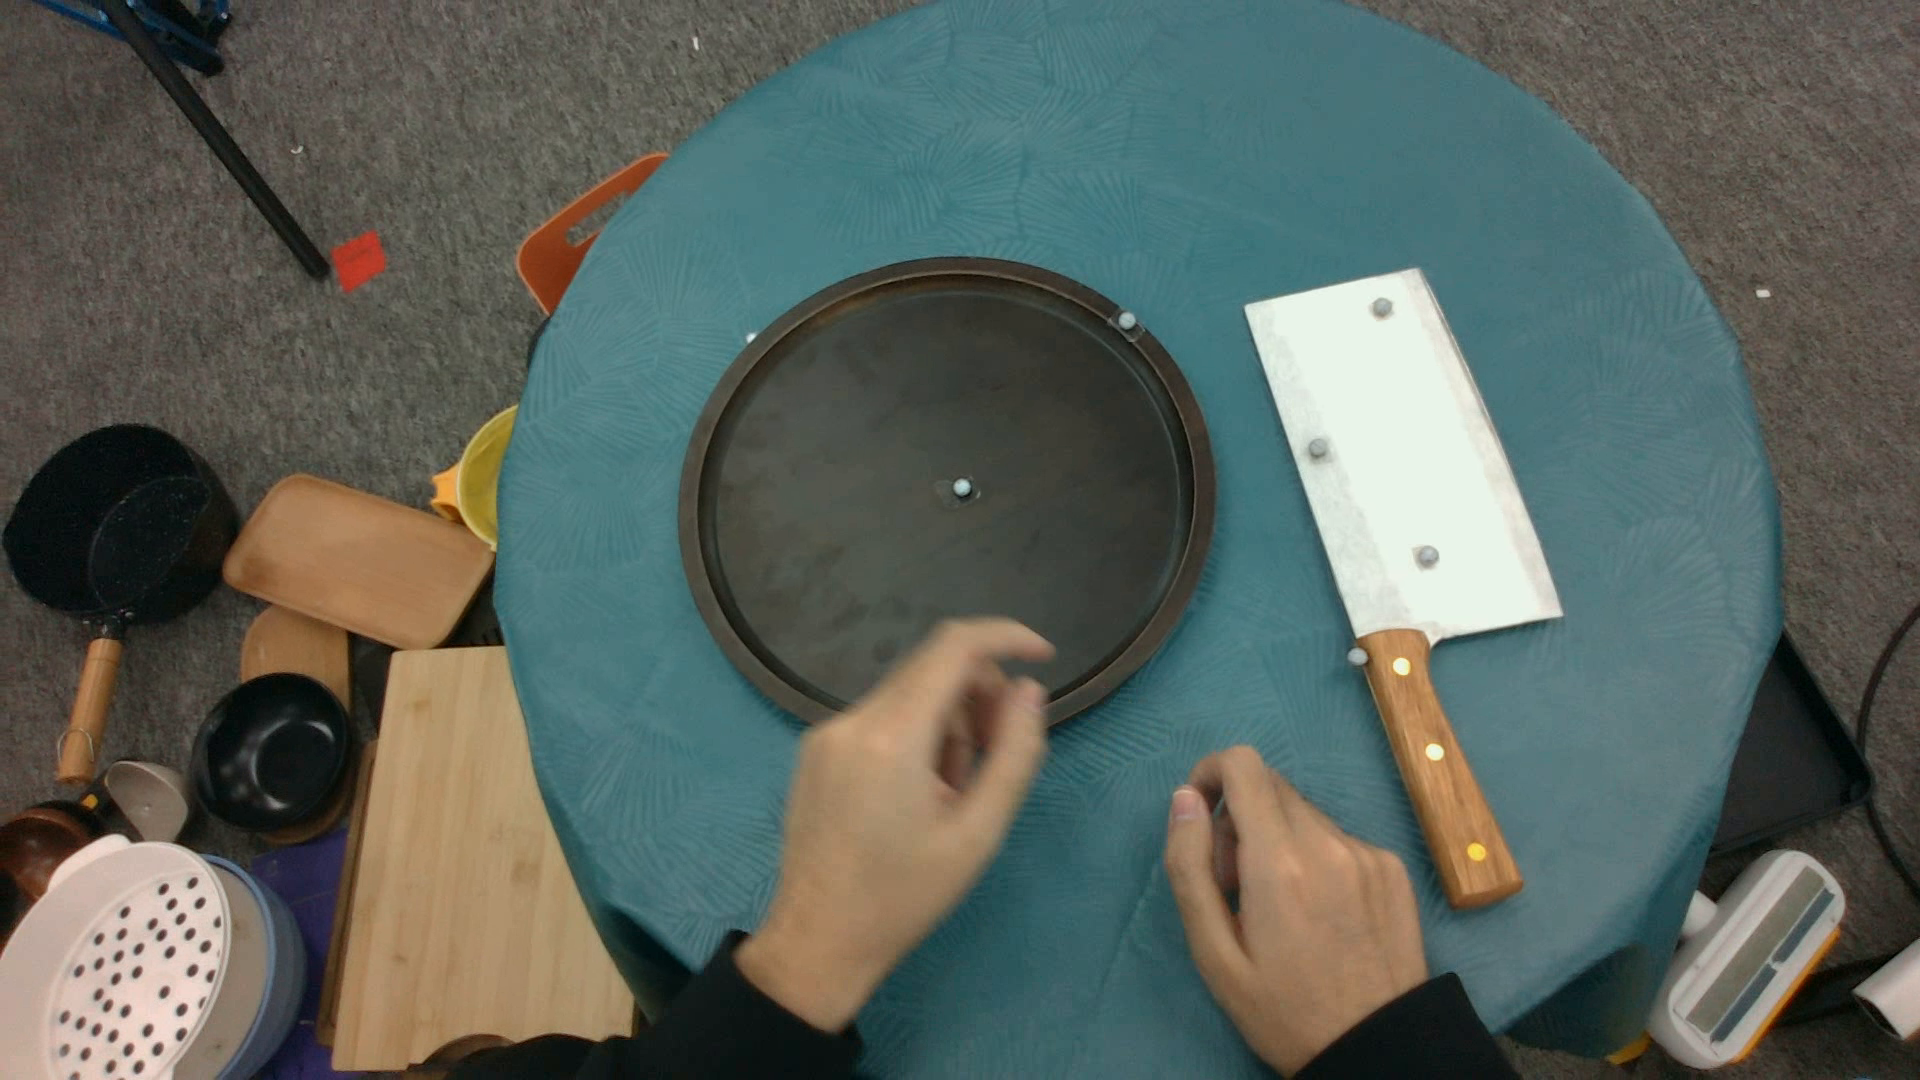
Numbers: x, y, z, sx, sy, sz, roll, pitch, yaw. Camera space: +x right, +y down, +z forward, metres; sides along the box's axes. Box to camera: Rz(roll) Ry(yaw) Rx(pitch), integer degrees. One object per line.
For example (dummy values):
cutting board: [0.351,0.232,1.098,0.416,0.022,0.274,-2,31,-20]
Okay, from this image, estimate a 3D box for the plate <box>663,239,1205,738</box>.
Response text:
plate: [-0.013,-0.030,0.646,0.255,0.029,0.255,-1,67,3]

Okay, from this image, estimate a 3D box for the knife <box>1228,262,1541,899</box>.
knife: [0.204,0.001,0.619,0.093,0.021,0.306,-12,65,-2]
